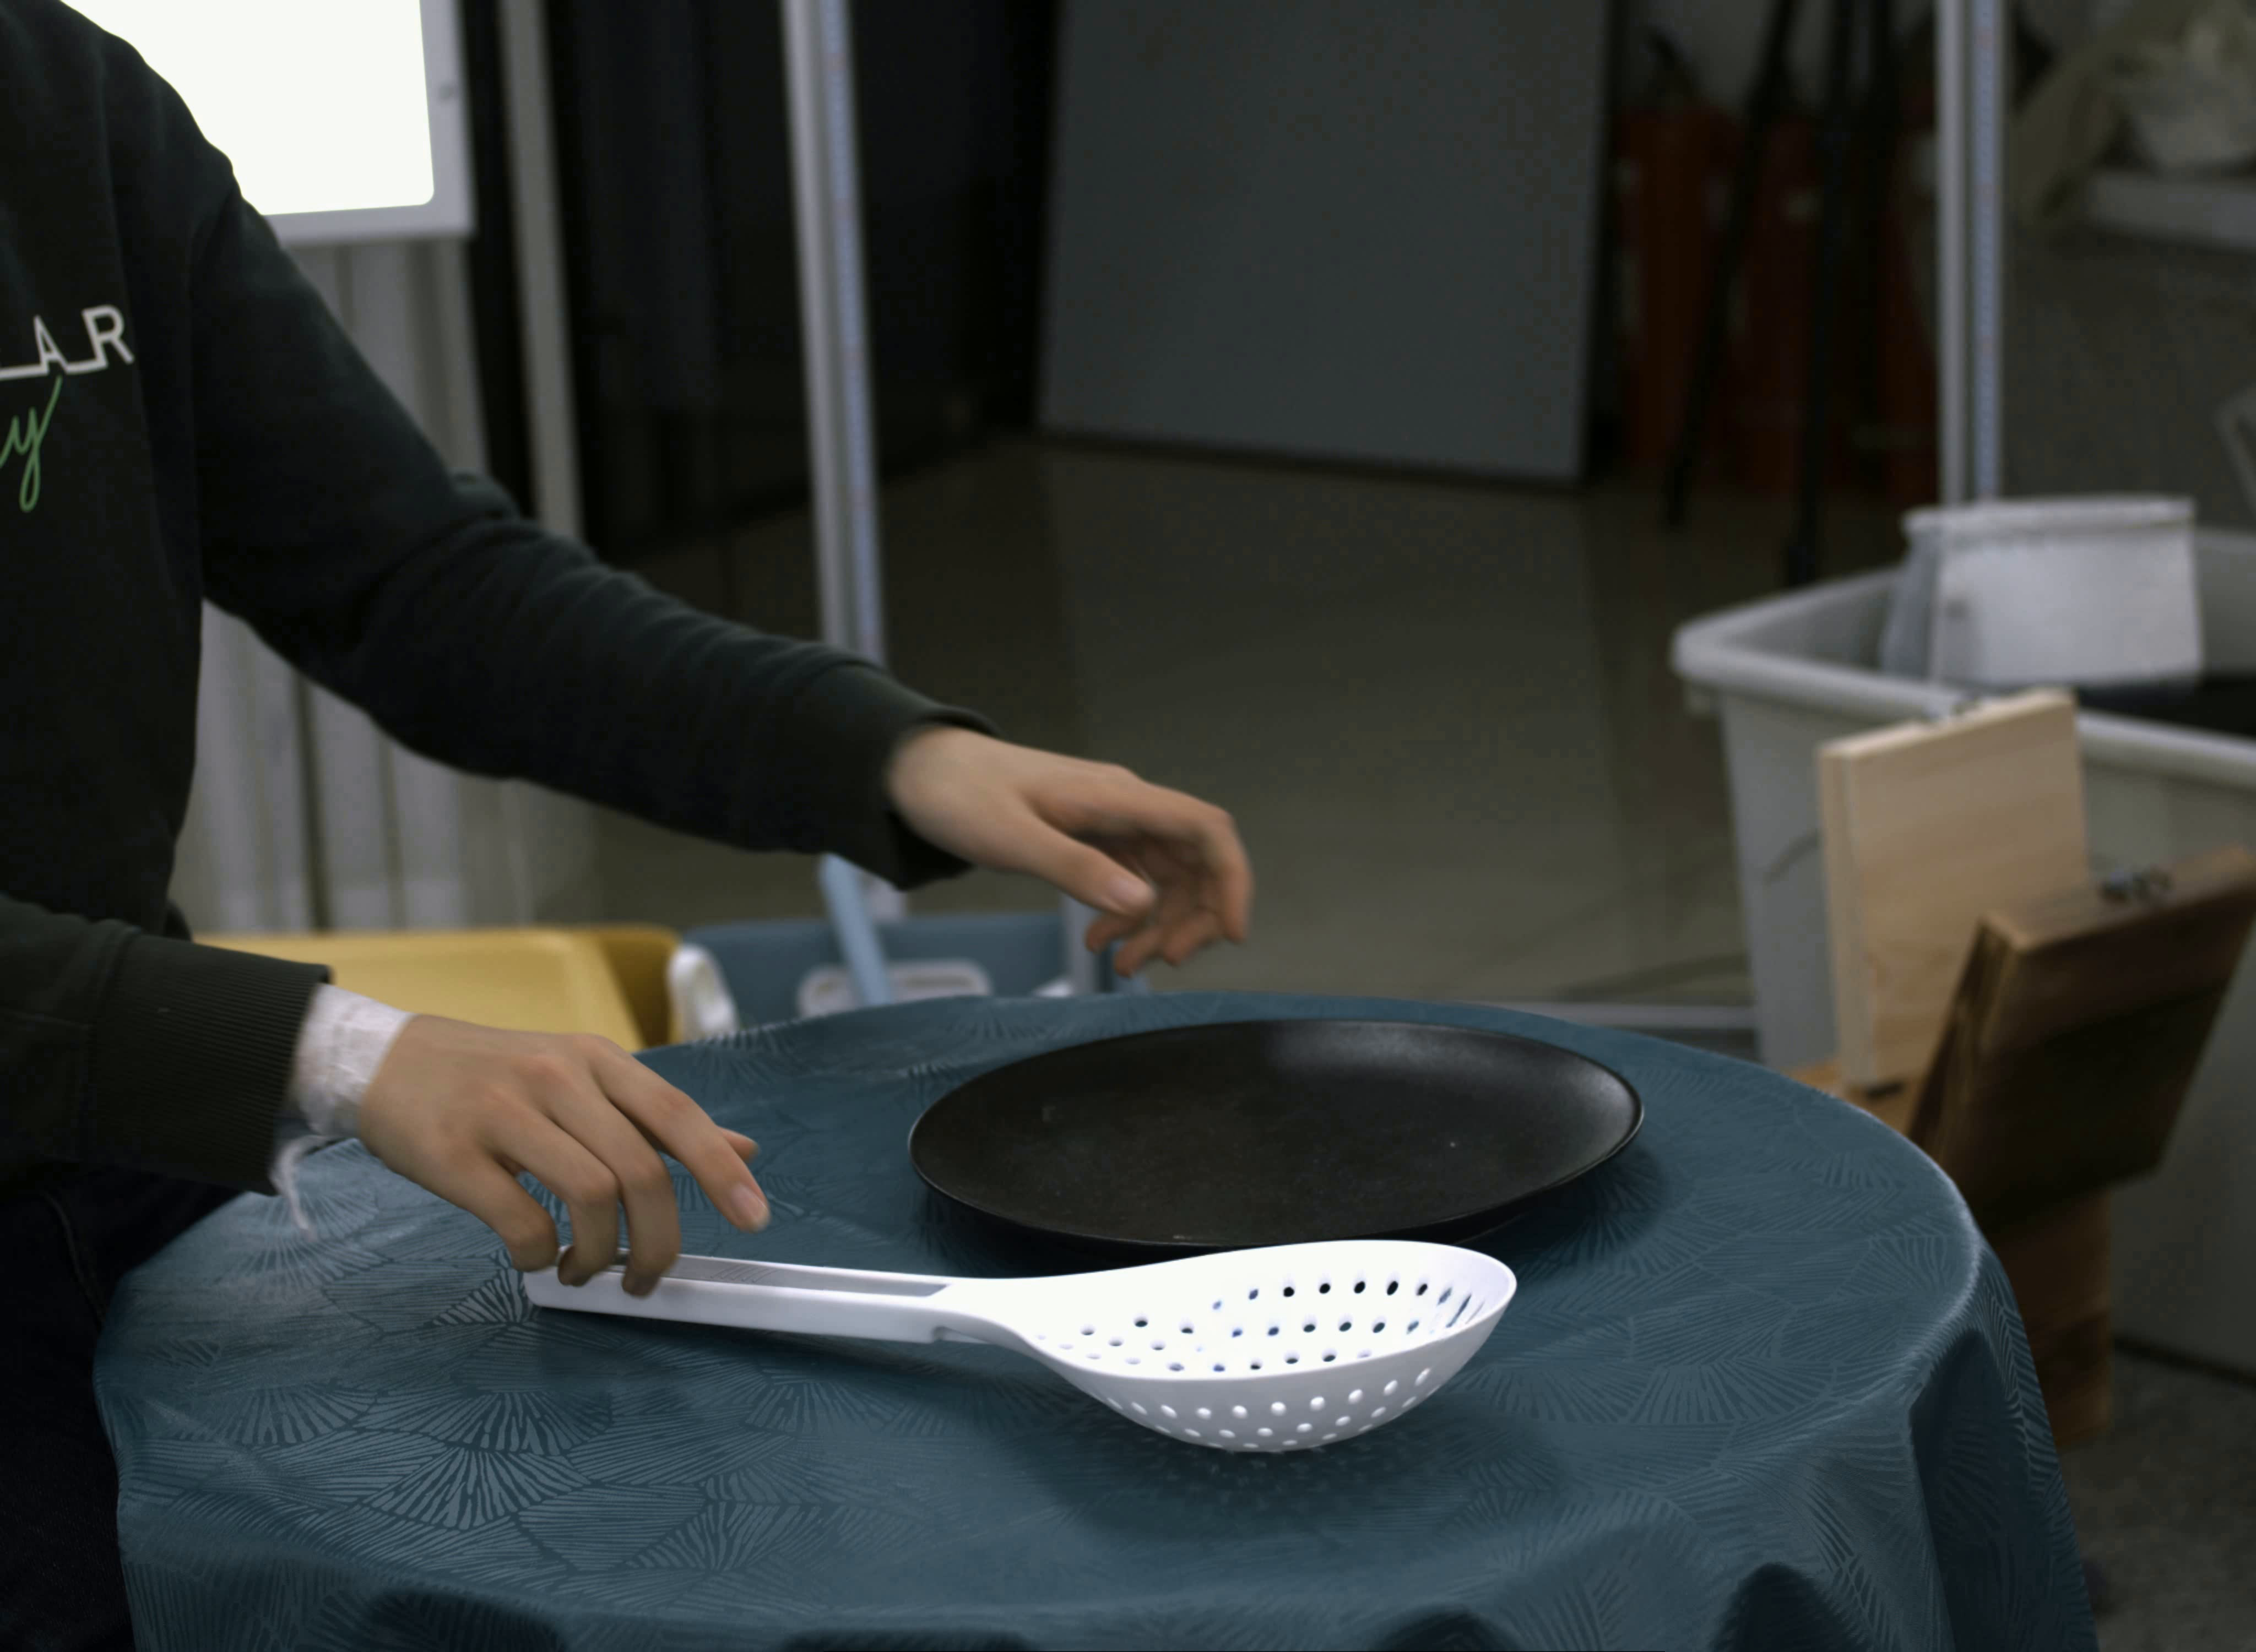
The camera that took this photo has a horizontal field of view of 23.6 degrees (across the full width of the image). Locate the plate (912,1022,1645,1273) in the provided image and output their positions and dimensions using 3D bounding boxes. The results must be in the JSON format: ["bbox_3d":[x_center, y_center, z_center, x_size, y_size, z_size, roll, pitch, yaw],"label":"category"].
[{"bbox_3d":[0.049,0.108,1.763,0.241,0.024,0.245,-4,14,0],"label":"plate"}]

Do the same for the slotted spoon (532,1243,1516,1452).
[{"bbox_3d":[-0.042,0.144,1.597,0.352,0.046,0.133,5,14,36],"label":"slotted spoon"}]
